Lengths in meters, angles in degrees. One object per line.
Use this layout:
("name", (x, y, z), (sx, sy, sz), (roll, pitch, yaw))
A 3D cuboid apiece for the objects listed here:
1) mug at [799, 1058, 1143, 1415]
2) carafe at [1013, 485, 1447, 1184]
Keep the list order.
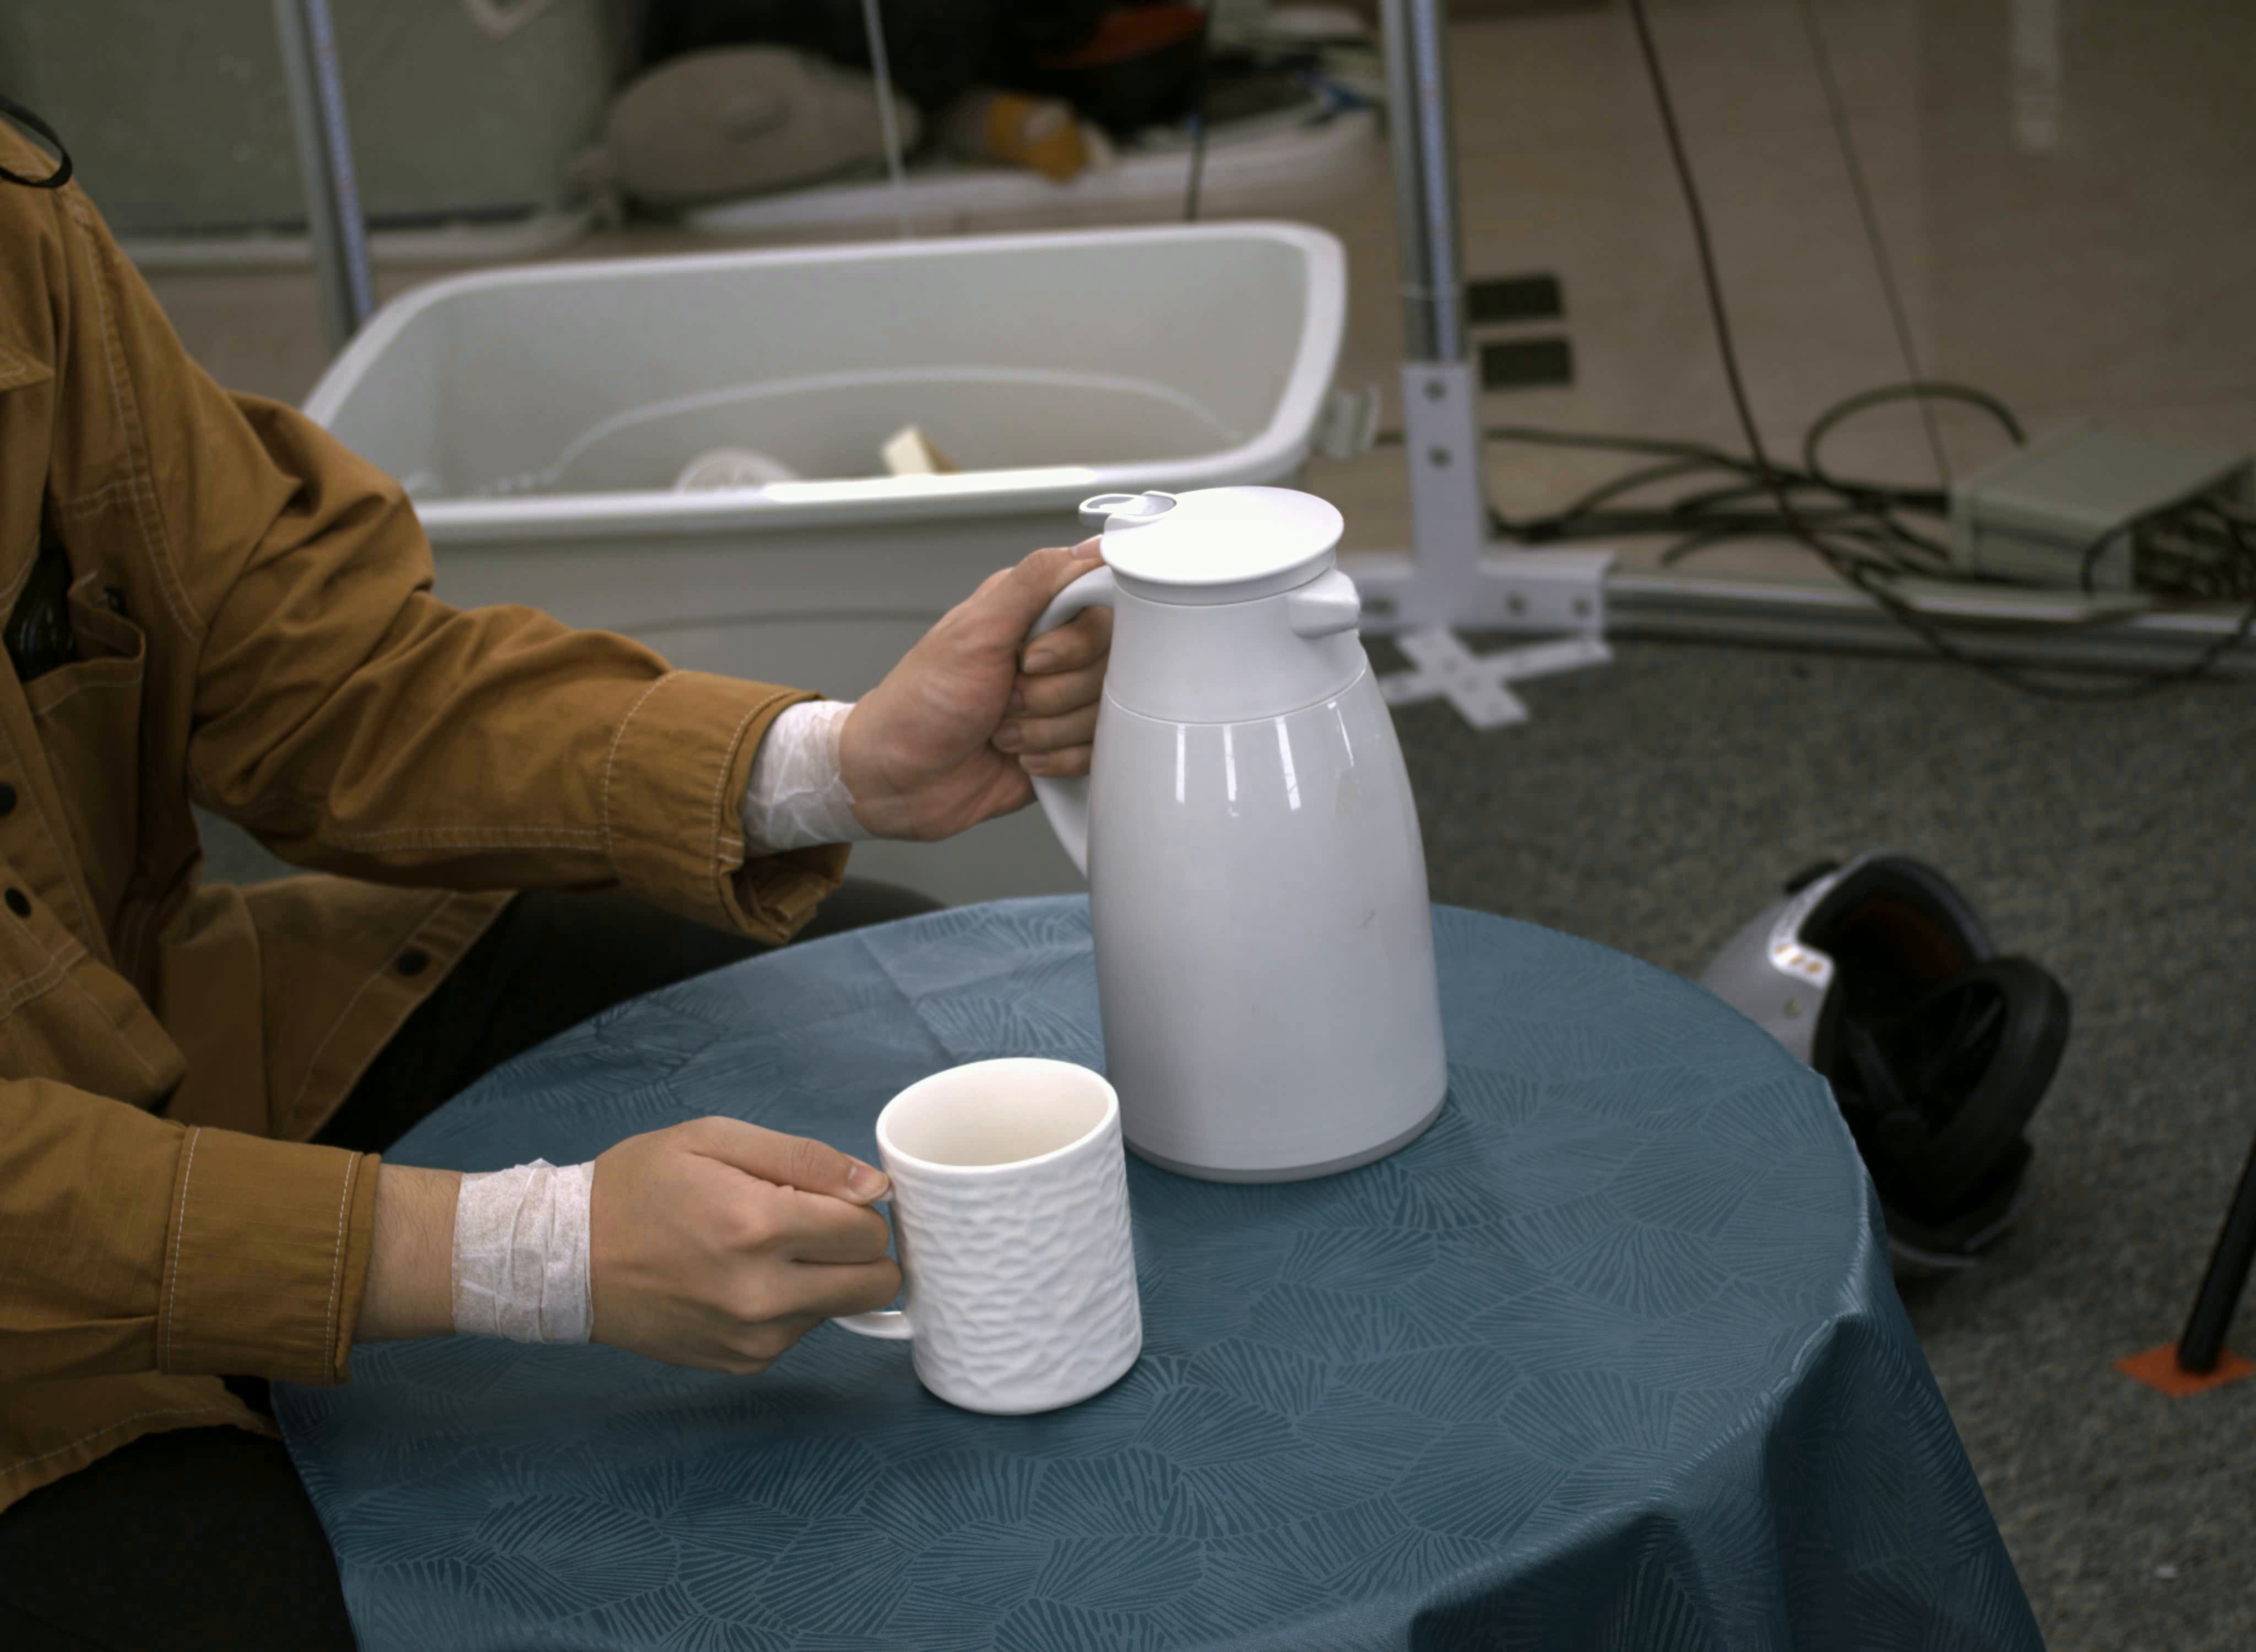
("mug", (-0.056, 0.150, 2.018), (0.118, 0.103, 0.084), (-12, 25, -11))
("carafe", (0.030, -0.006, 2.156), (0.167, 0.252, 0.131), (13, 32, 35))
